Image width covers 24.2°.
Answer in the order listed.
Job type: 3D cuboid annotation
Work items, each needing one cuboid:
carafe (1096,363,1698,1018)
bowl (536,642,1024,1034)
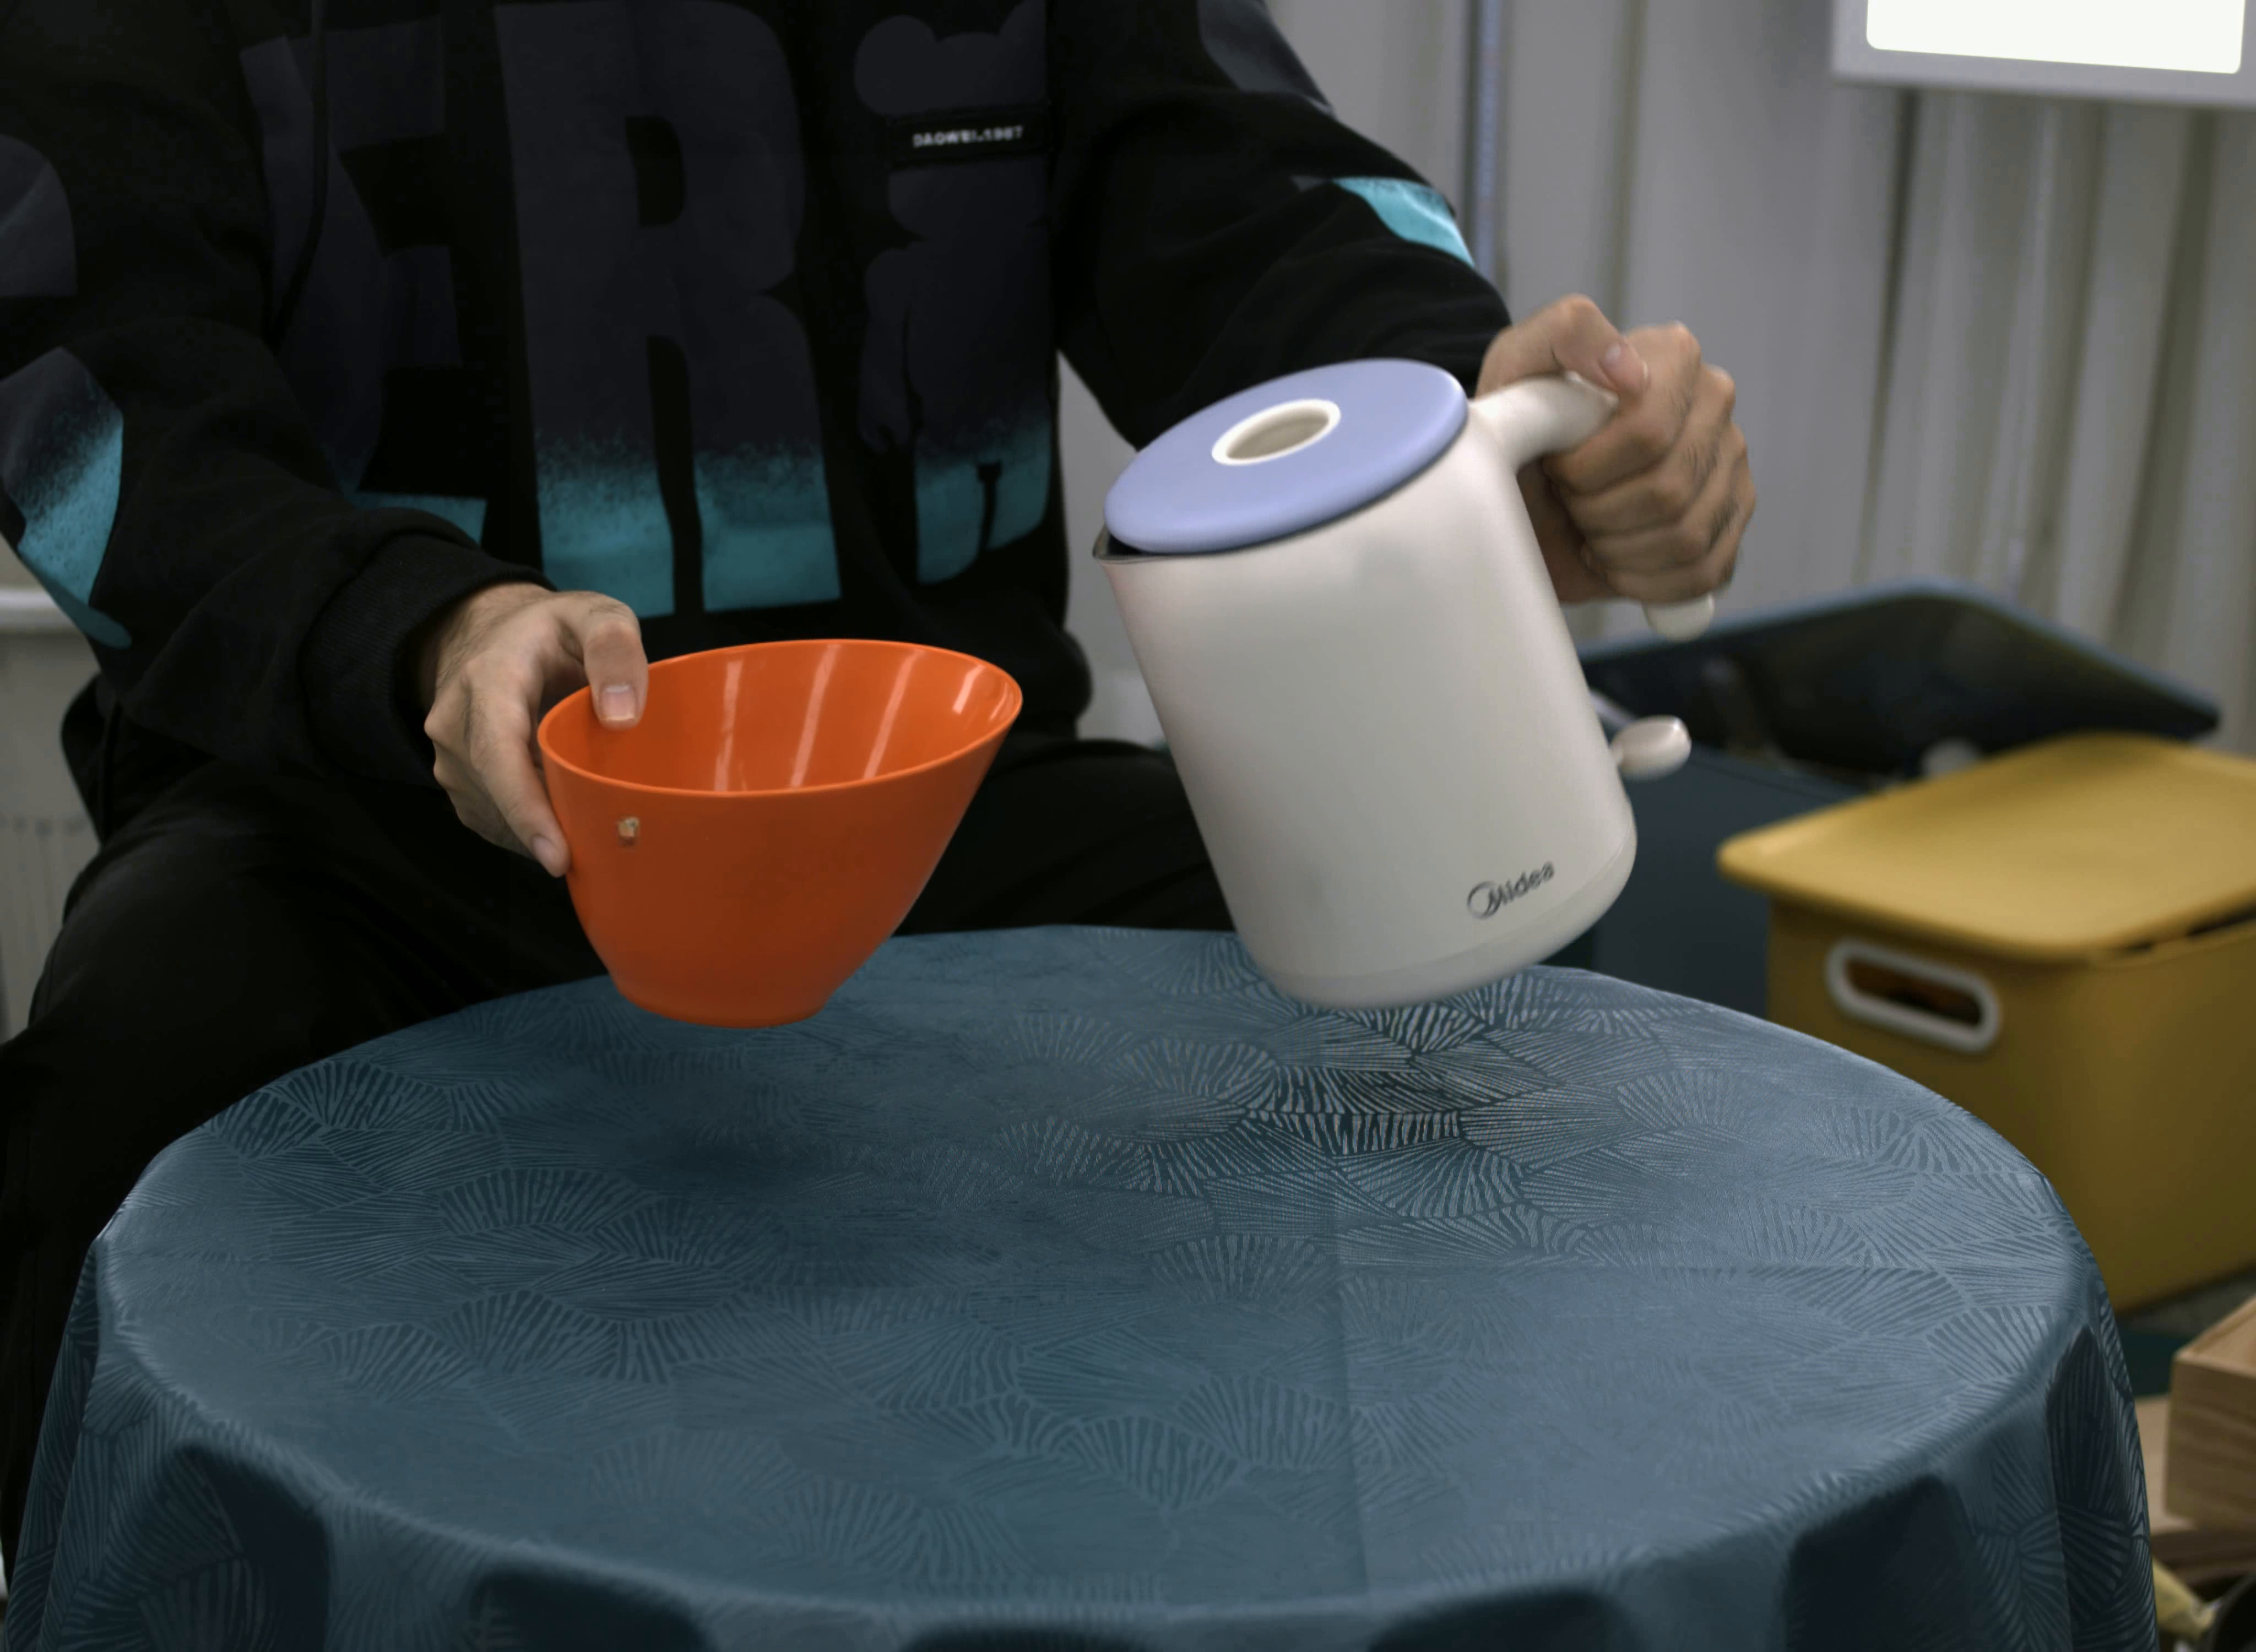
[{"bbox_3d":[0.094,-0.053,1.660,0.191,0.184,0.130,-25,26,-18],"label":"carafe"},{"bbox_3d":[-0.111,0.005,1.619,0.147,0.105,0.147,7,19,-2],"label":"bowl"}]
